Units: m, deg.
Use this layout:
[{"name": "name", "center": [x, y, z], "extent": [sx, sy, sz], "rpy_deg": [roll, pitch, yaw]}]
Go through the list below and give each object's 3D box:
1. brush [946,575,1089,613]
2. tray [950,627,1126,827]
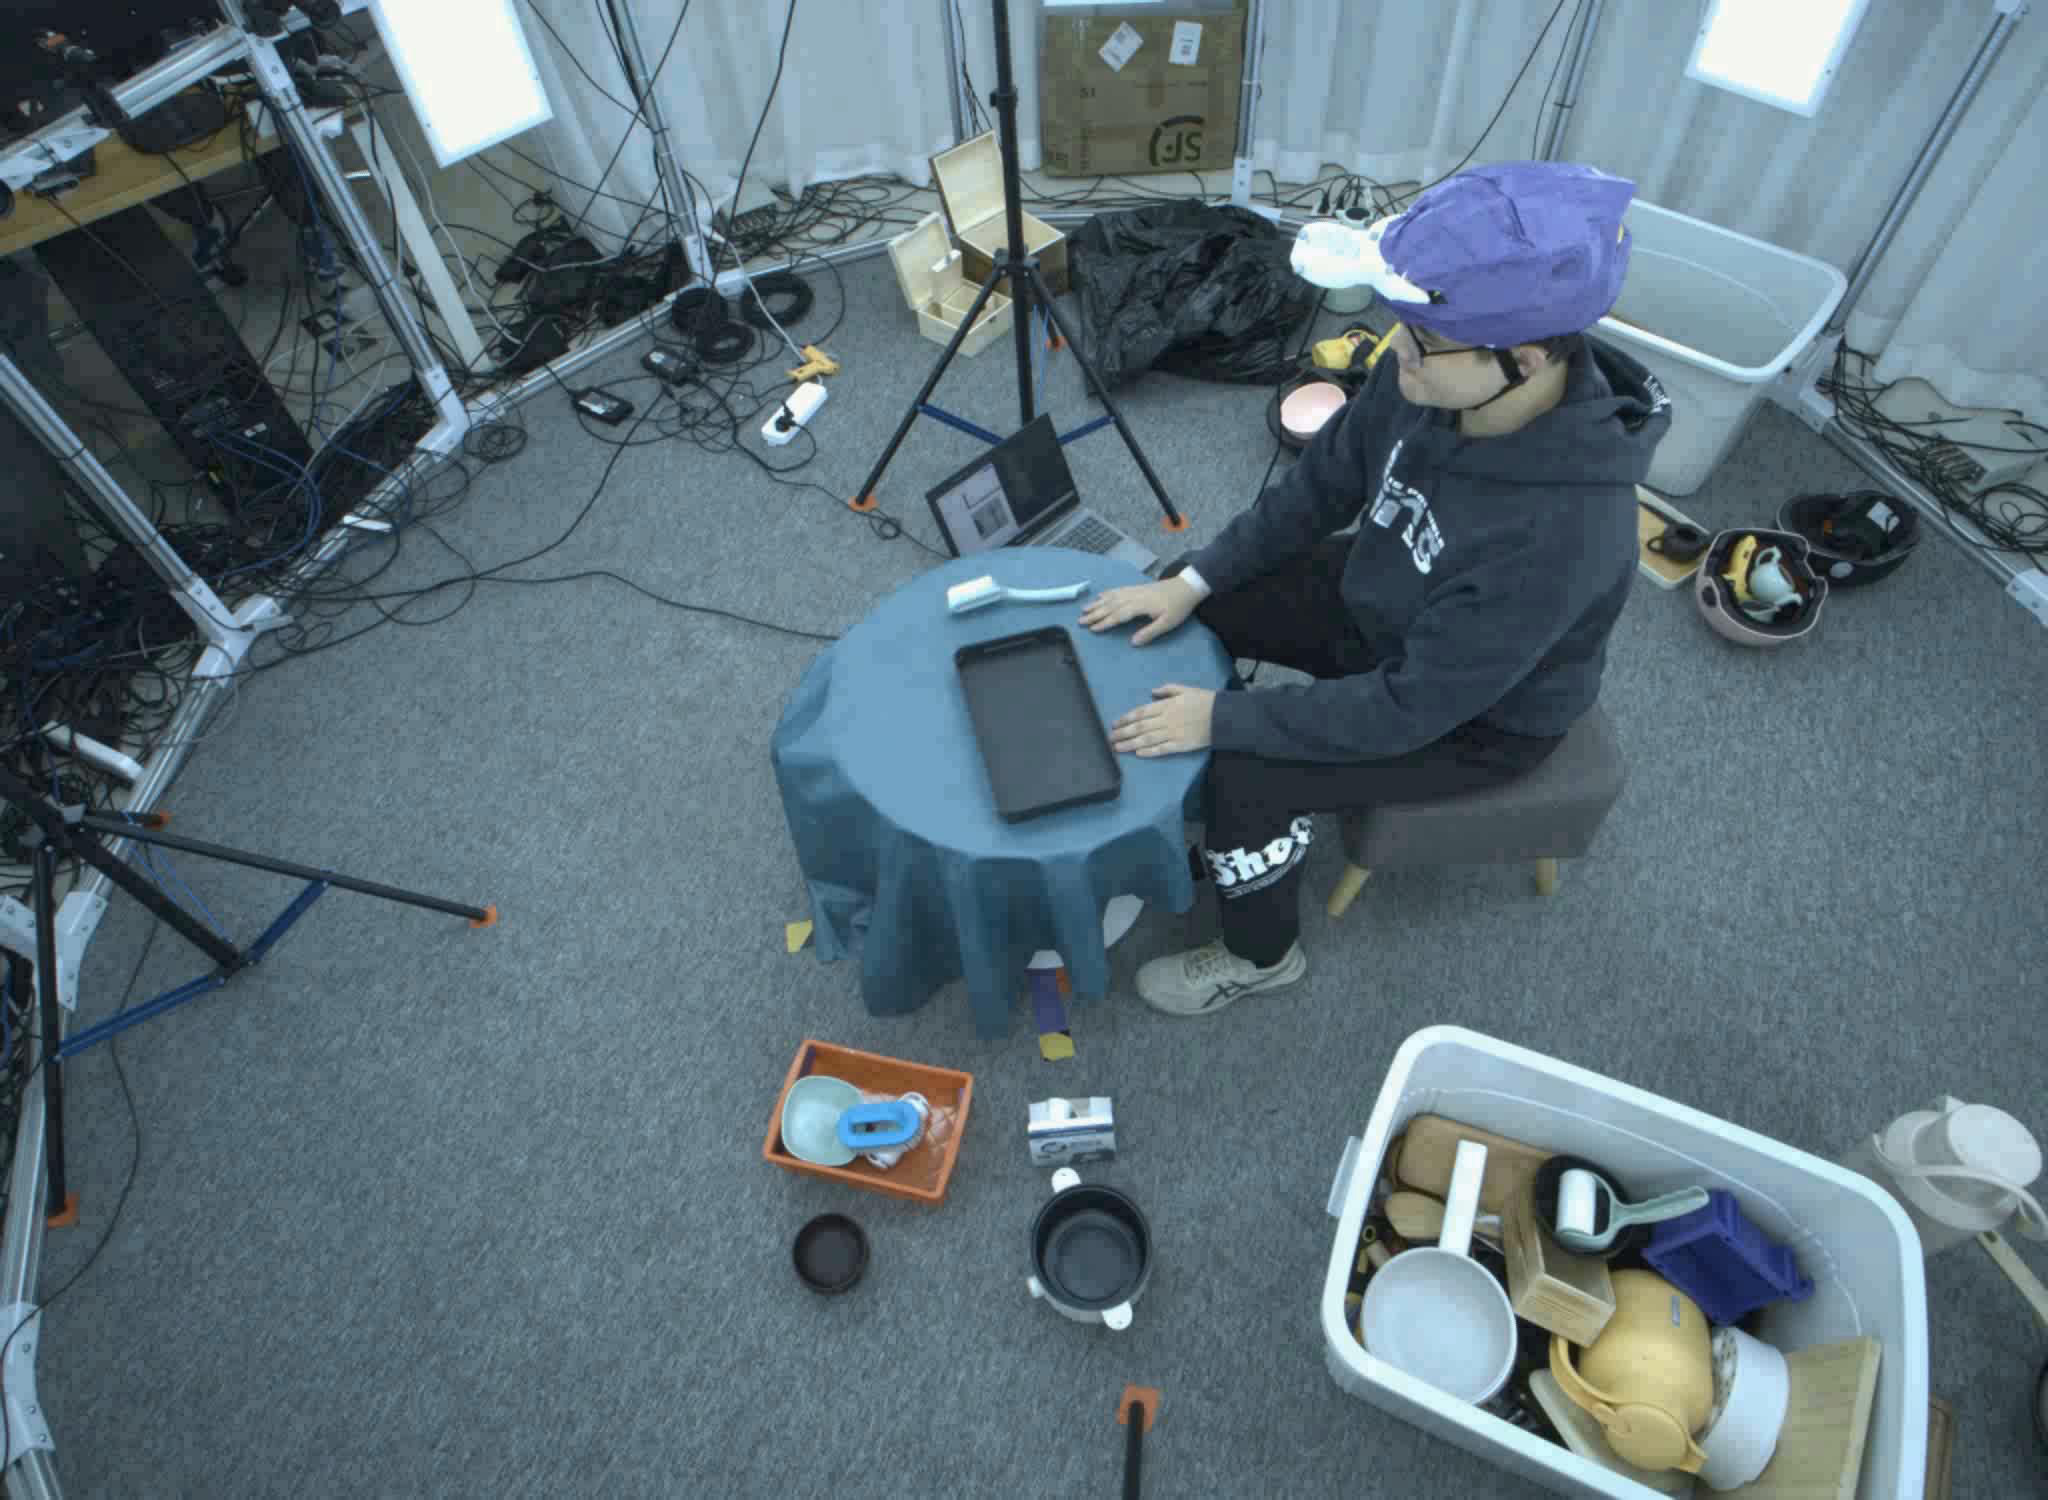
[{"name": "brush", "center": [-0.010, -0.257, 1.946], "extent": [0.229, 0.038, 0.049], "rpy_deg": [-8, 66, -5]}, {"name": "tray", "center": [0.016, -0.040, 1.793], "extent": [0.185, 0.037, 0.313], "rpy_deg": [-14, 55, -9]}]
